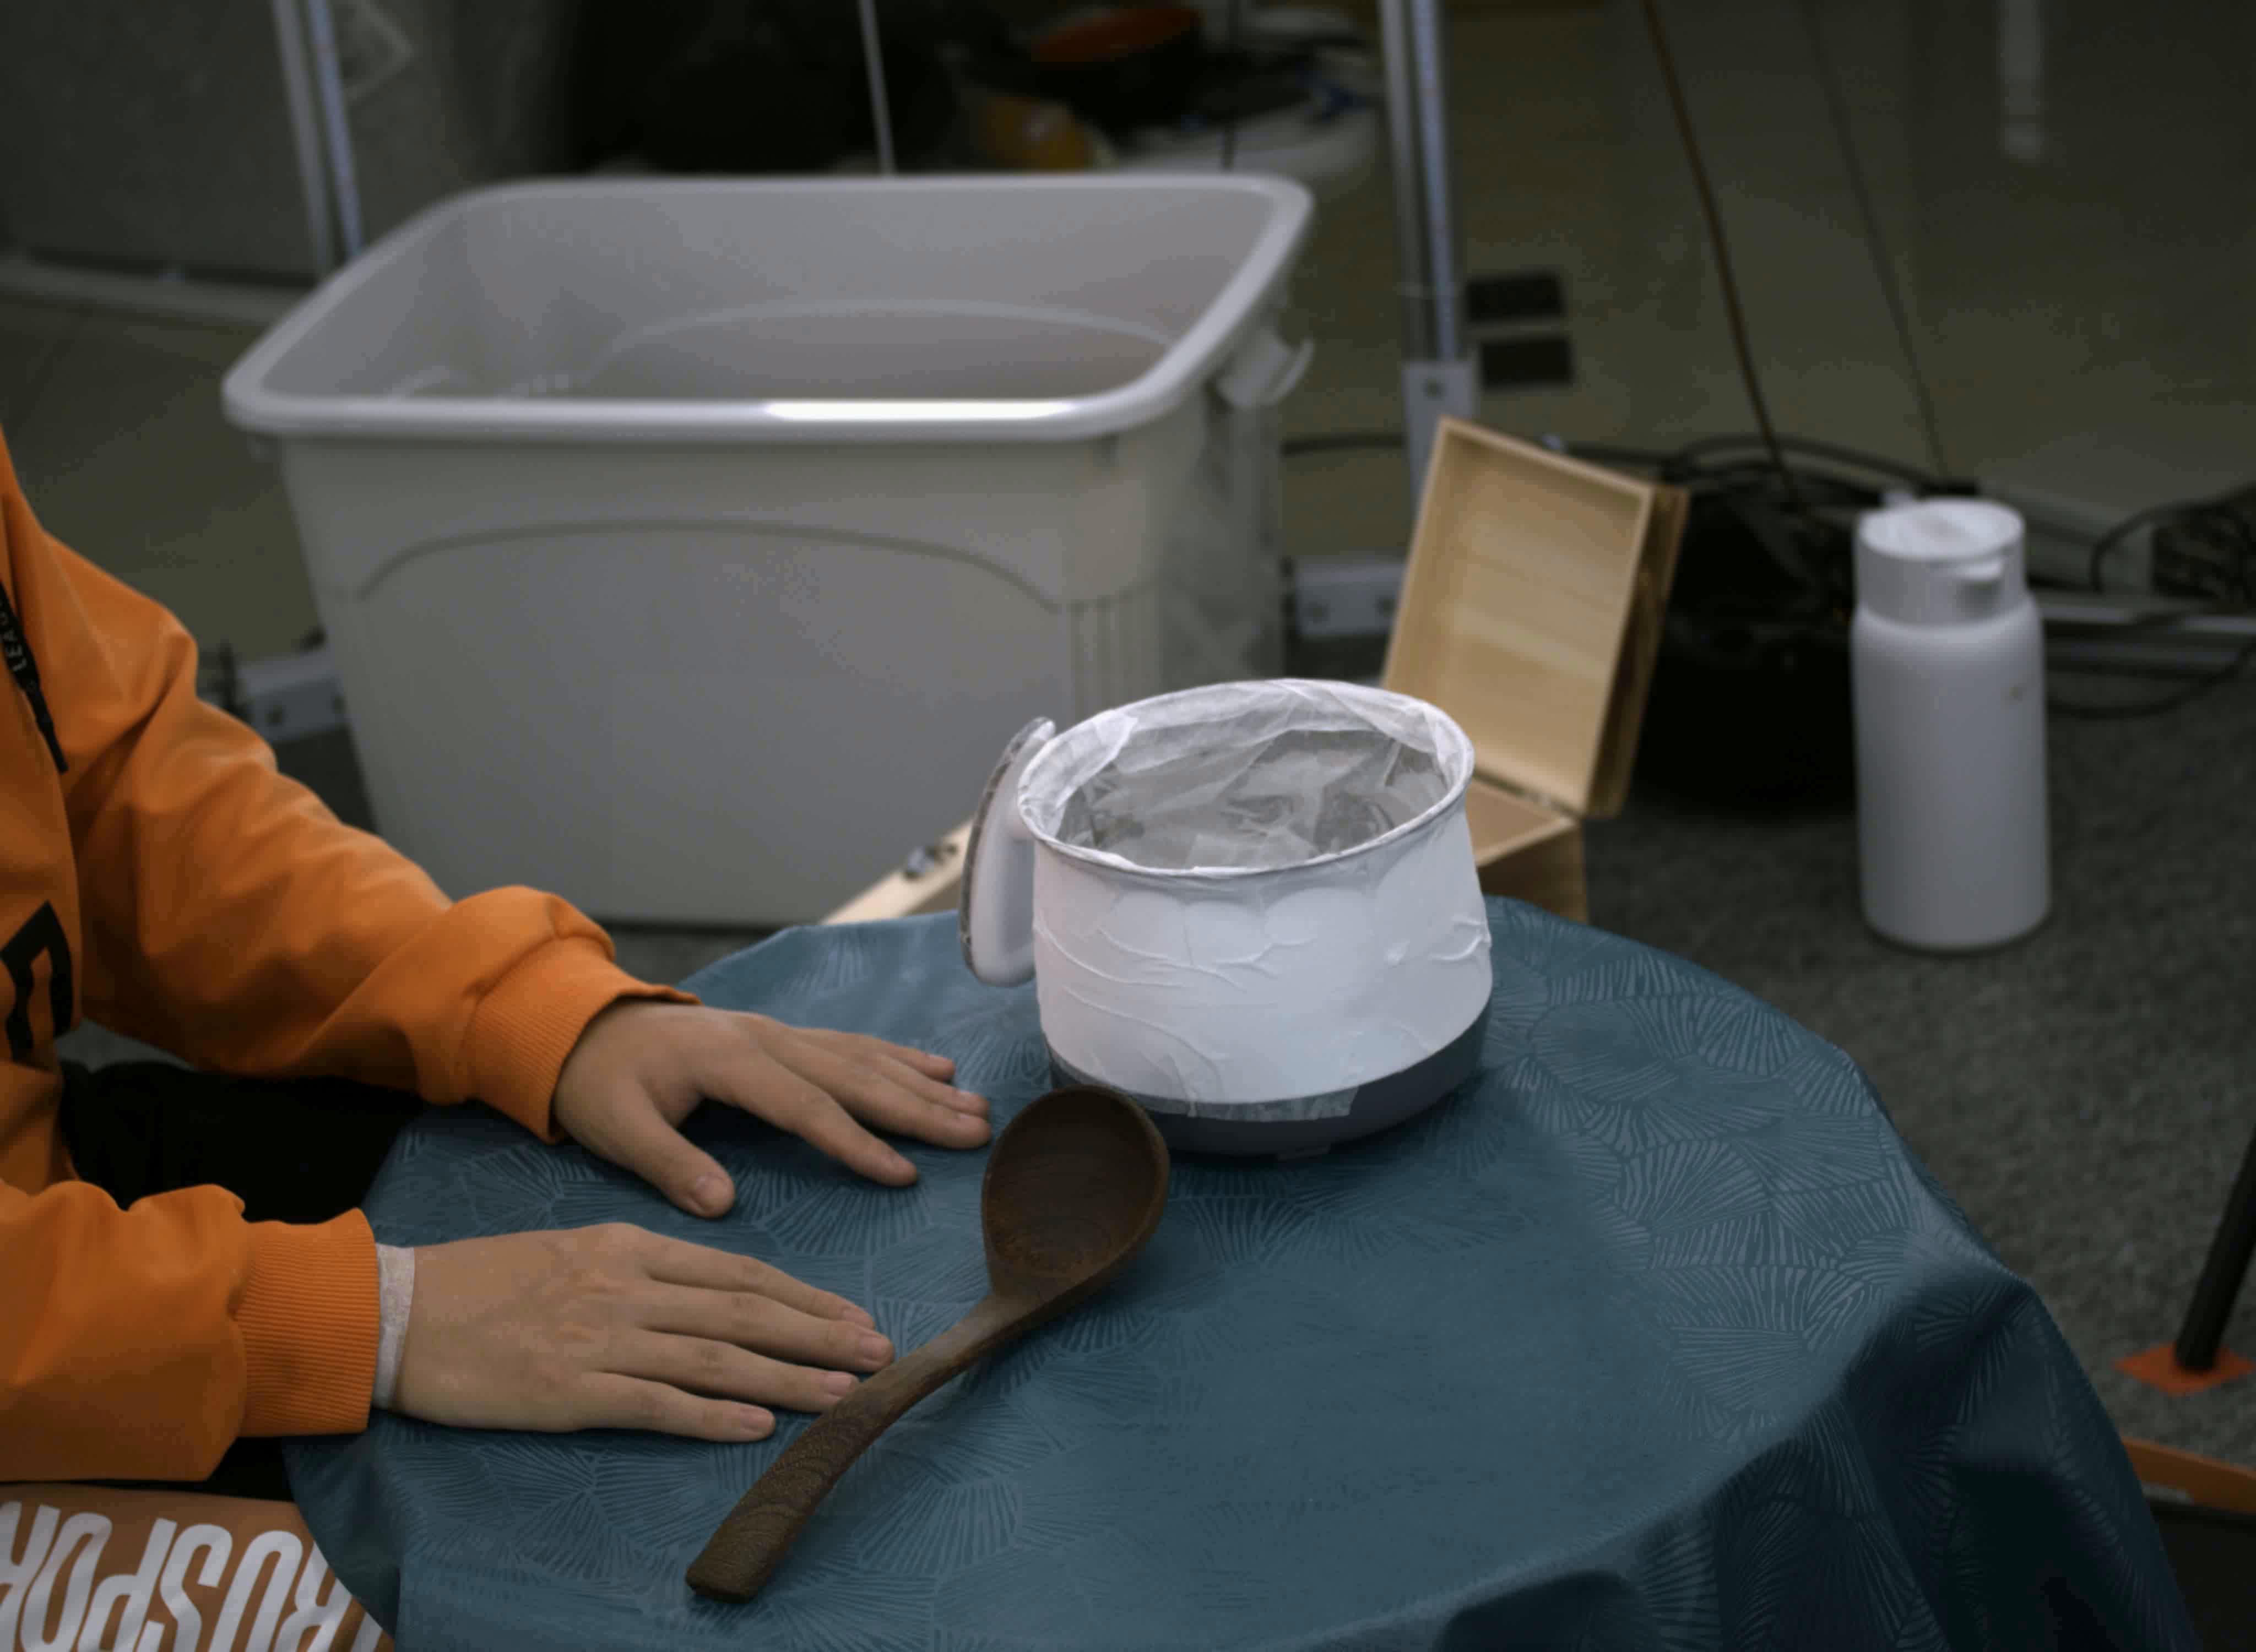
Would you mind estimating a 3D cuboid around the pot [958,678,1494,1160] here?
[{"bbox_3d":[0.028,0.032,2.204,0.232,0.139,0.177,12,31,34],"label":"pot"}]

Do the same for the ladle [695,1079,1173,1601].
[{"bbox_3d":[-0.073,0.175,2.003,0.076,0.072,0.271,7,27,32],"label":"ladle"}]
